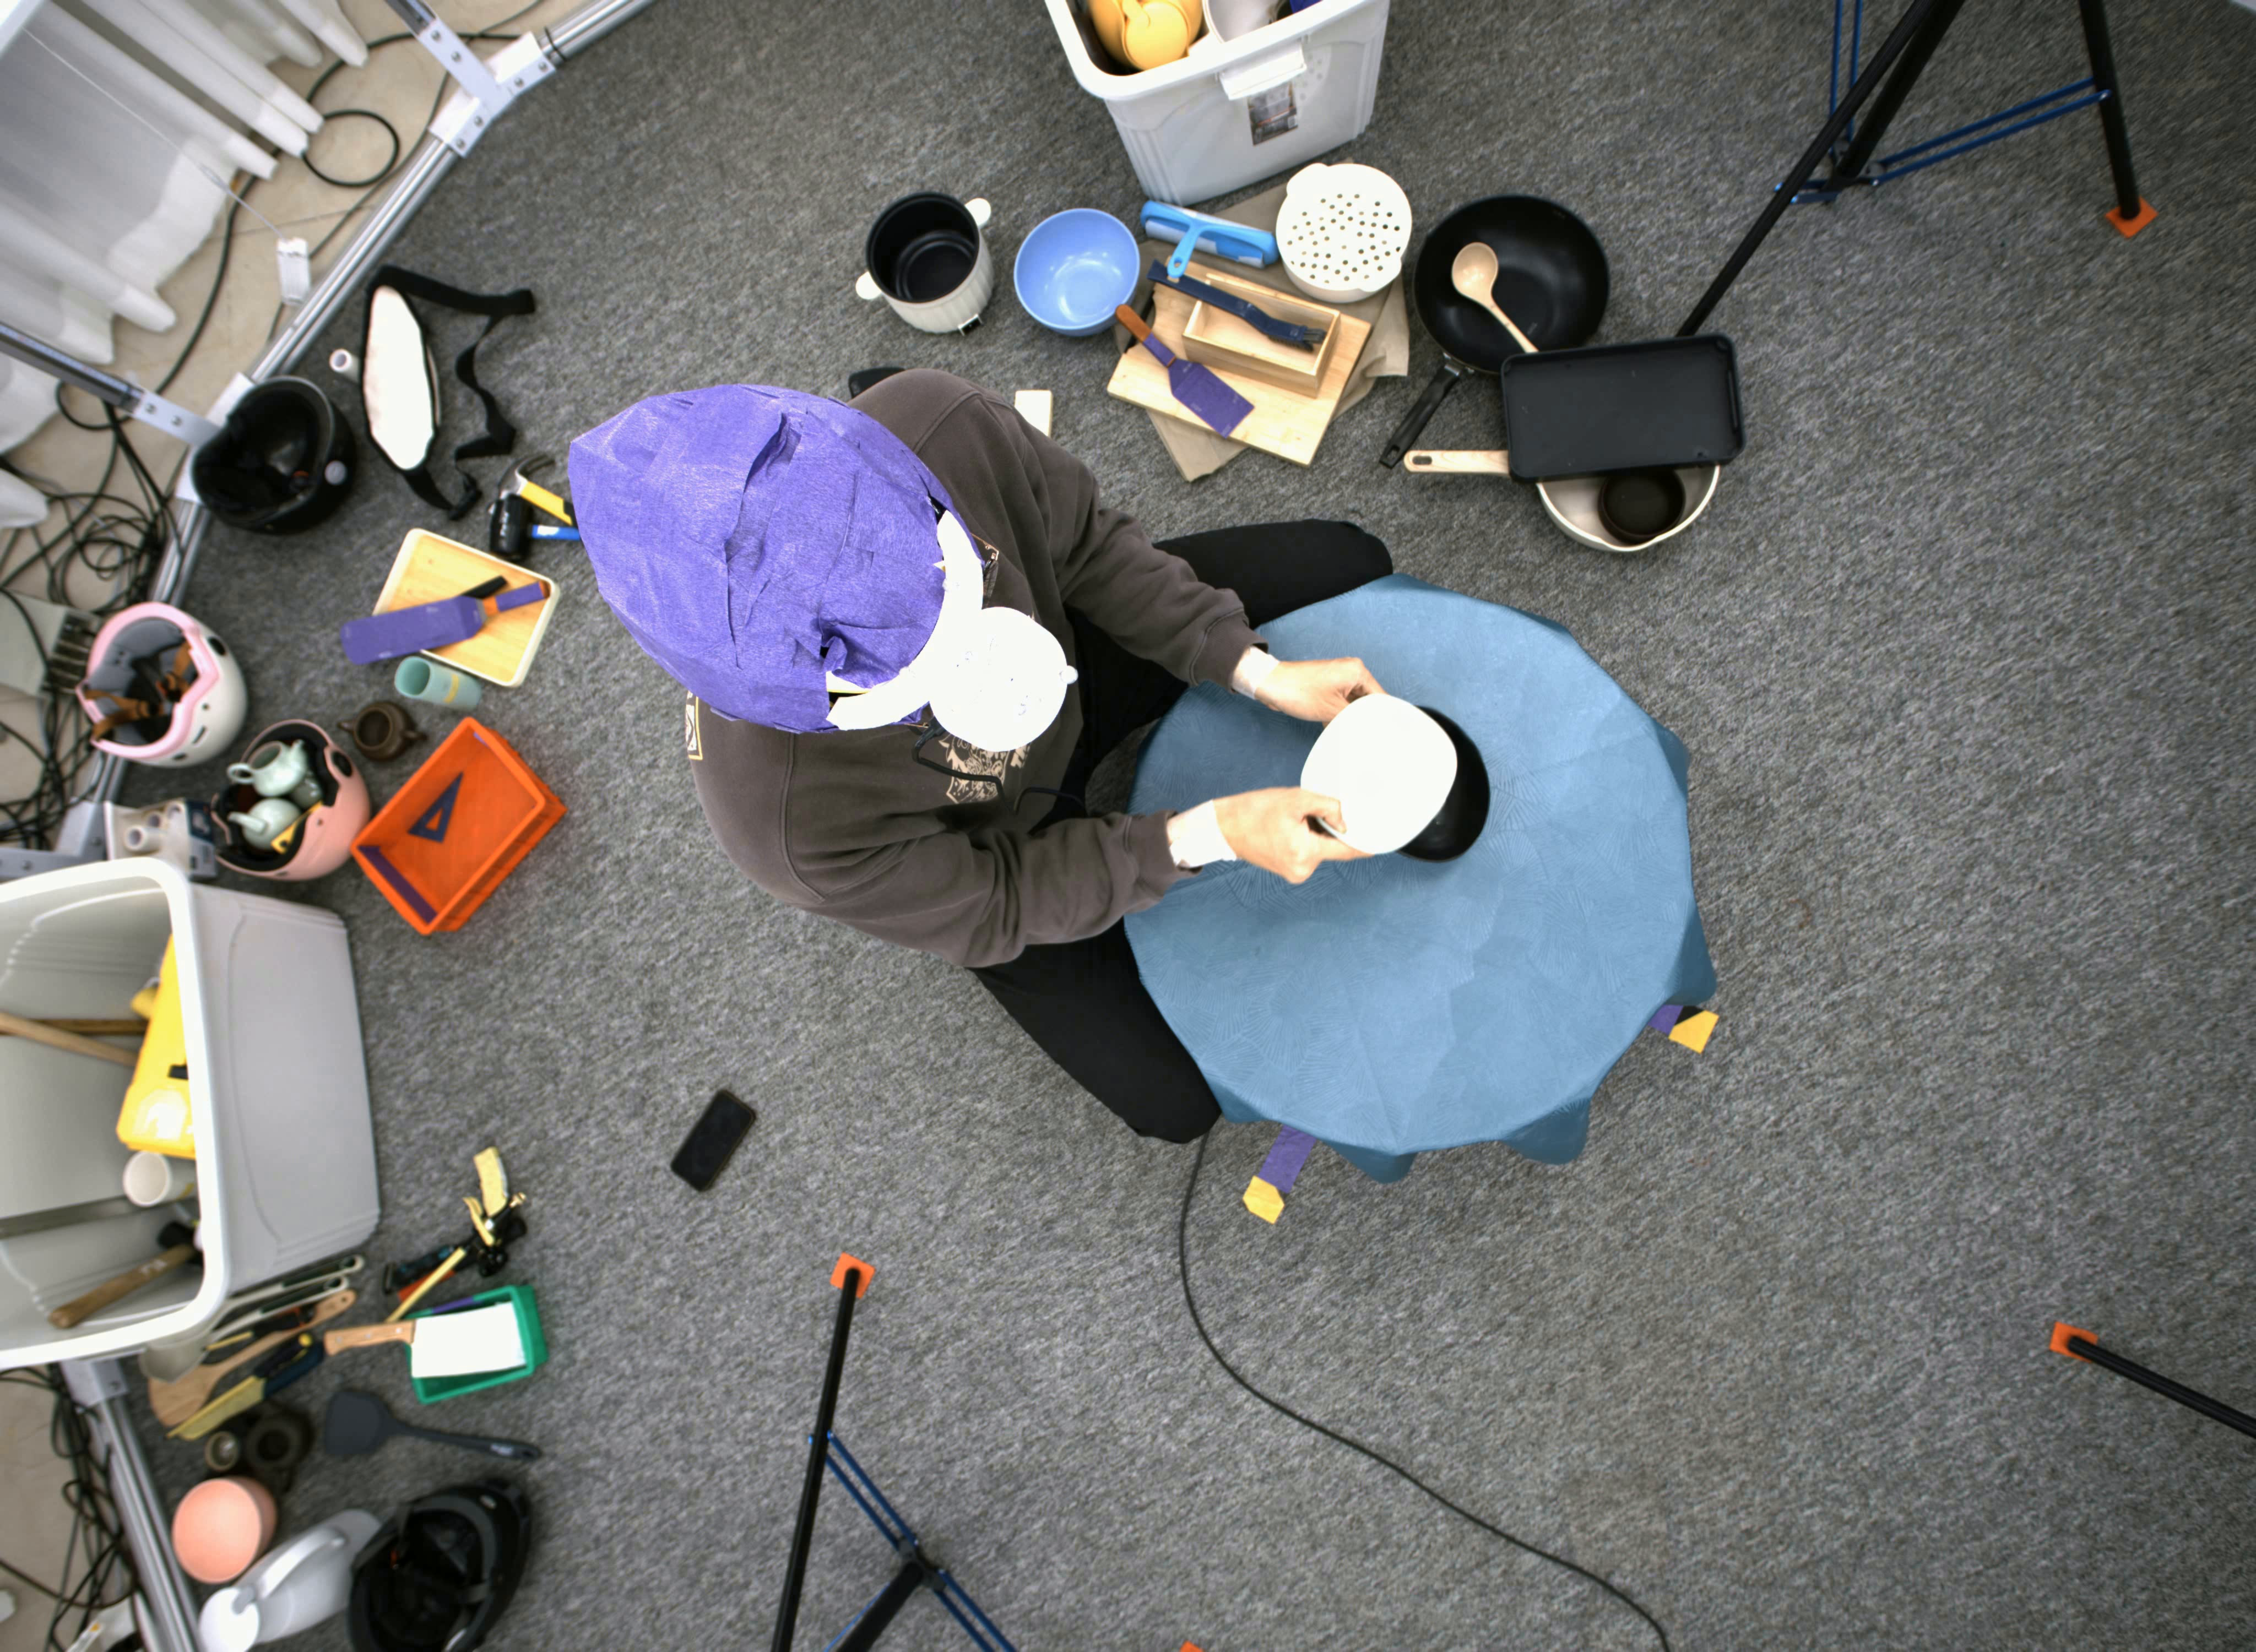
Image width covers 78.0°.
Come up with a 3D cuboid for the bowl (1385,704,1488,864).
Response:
[{"bbox_3d":[0.294,-0.044,1.408,0.138,0.066,0.169,-33,83,10],"label":"bowl"}]

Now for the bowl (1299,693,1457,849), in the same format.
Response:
[{"bbox_3d":[0.241,-0.047,1.294,0.153,0.059,0.149,-8,74,28],"label":"bowl"}]
